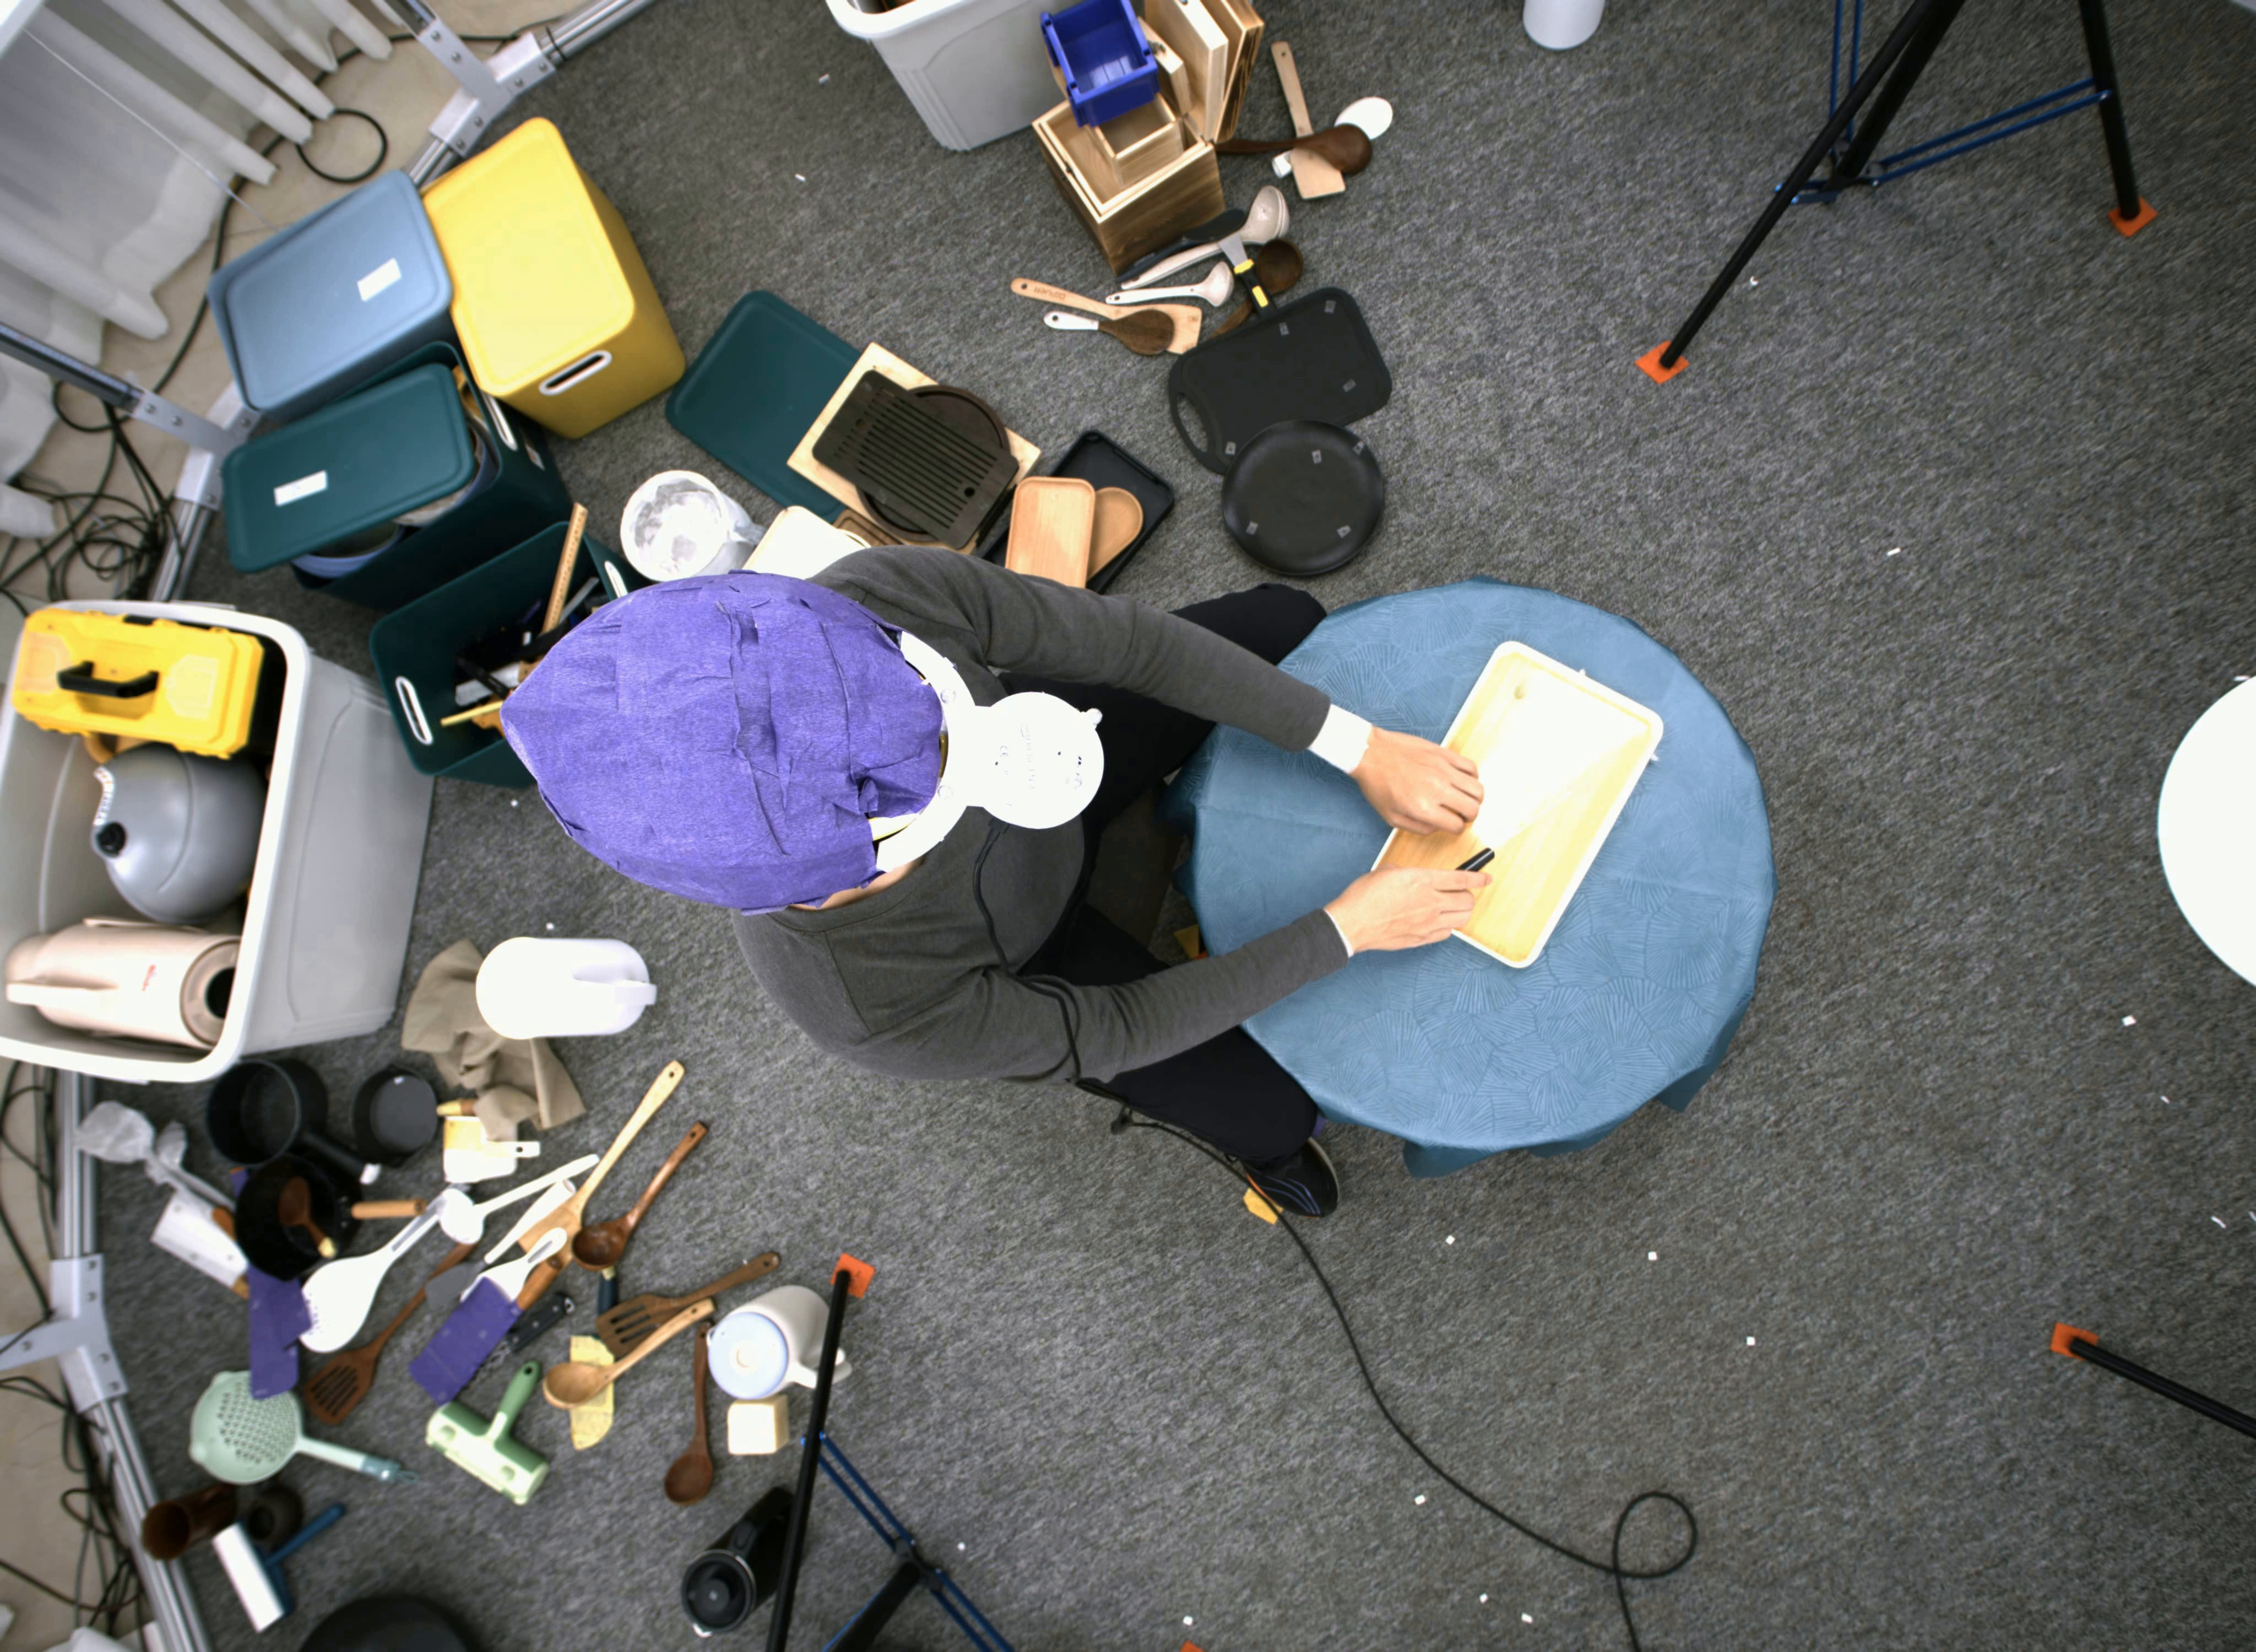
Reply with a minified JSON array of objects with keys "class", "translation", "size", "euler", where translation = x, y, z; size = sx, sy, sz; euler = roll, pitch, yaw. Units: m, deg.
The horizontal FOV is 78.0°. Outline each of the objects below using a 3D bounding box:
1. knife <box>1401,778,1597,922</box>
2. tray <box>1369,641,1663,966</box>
[{"class":"knife","translation":[0.372,0.020,1.378],"size":[0.240,0.024,0.016],"euler":[-37,76,9]},{"class":"tray","translation":[0.401,-0.026,1.428],"size":[0.191,0.027,0.301],"euler":[31,93,12]}]
